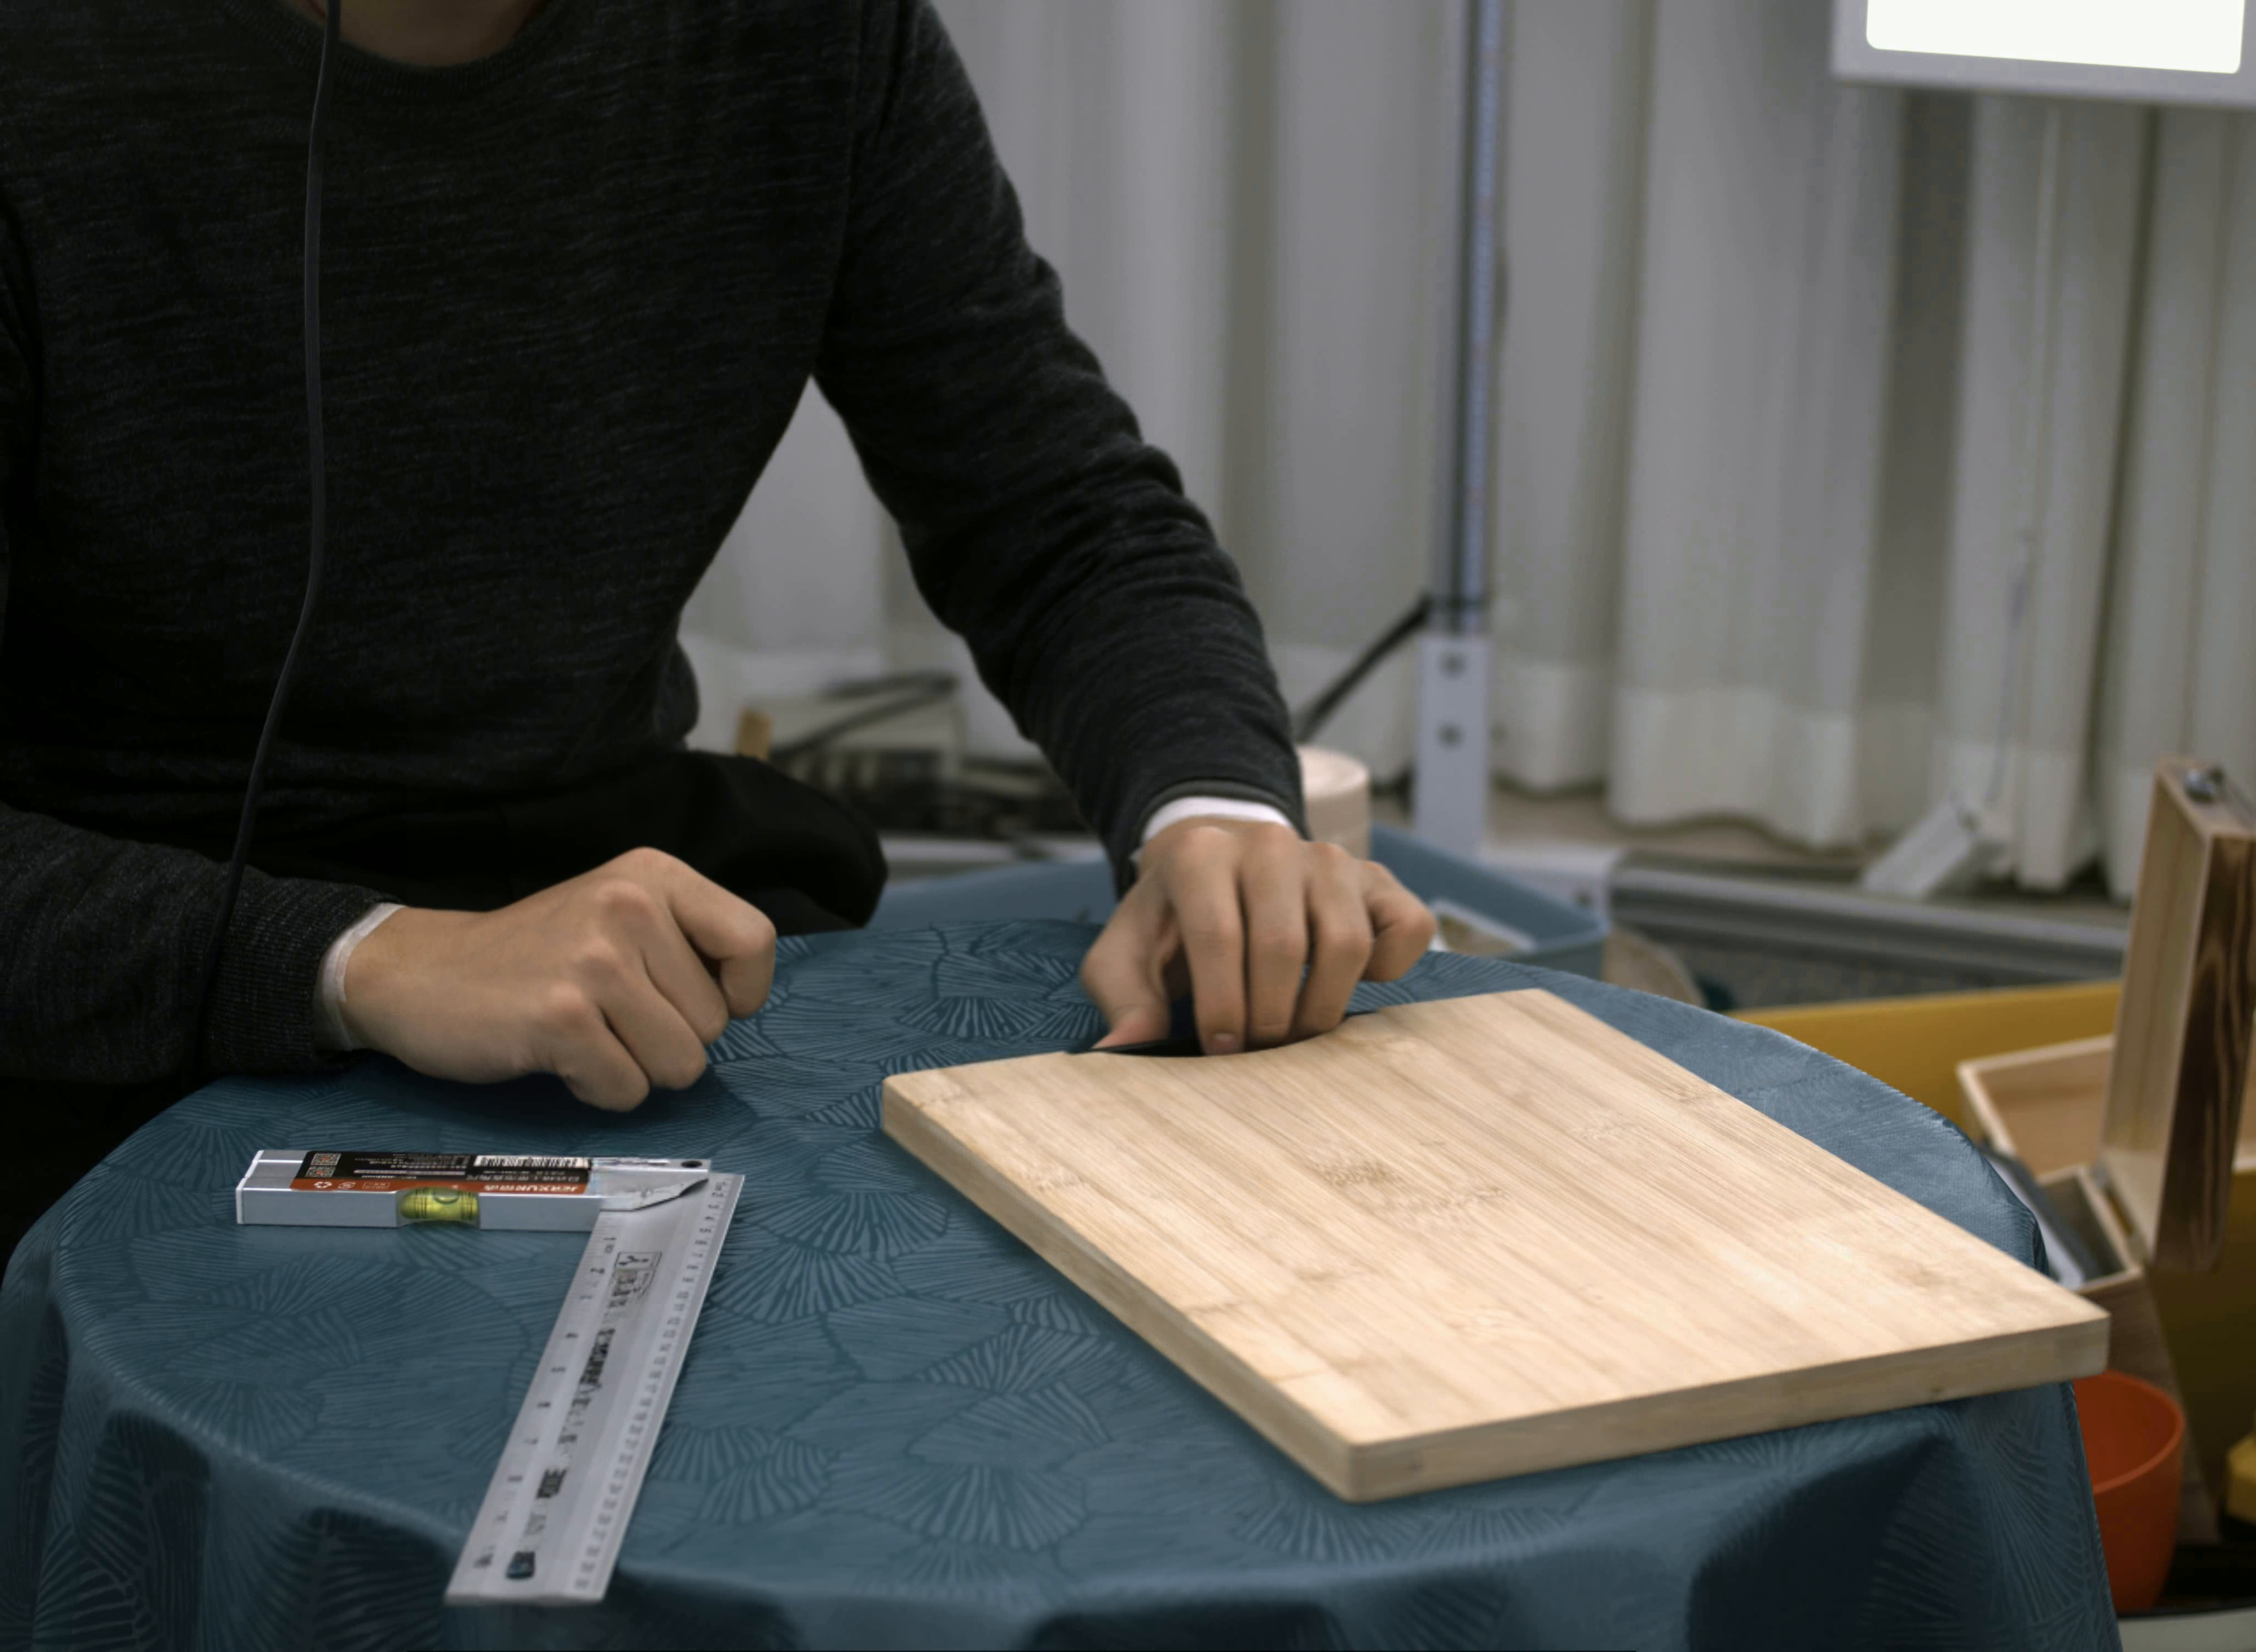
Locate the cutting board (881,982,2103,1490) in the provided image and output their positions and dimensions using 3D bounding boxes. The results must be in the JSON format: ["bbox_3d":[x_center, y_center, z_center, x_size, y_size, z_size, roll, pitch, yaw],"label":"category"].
[{"bbox_3d":[0.097,0.116,1.582,0.251,0.024,0.344,-6,17,-24],"label":"cutting board"}]

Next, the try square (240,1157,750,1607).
[{"bbox_3d":[-0.198,0.151,1.468,0.151,0.016,0.311,-1,16,3],"label":"try square"}]
